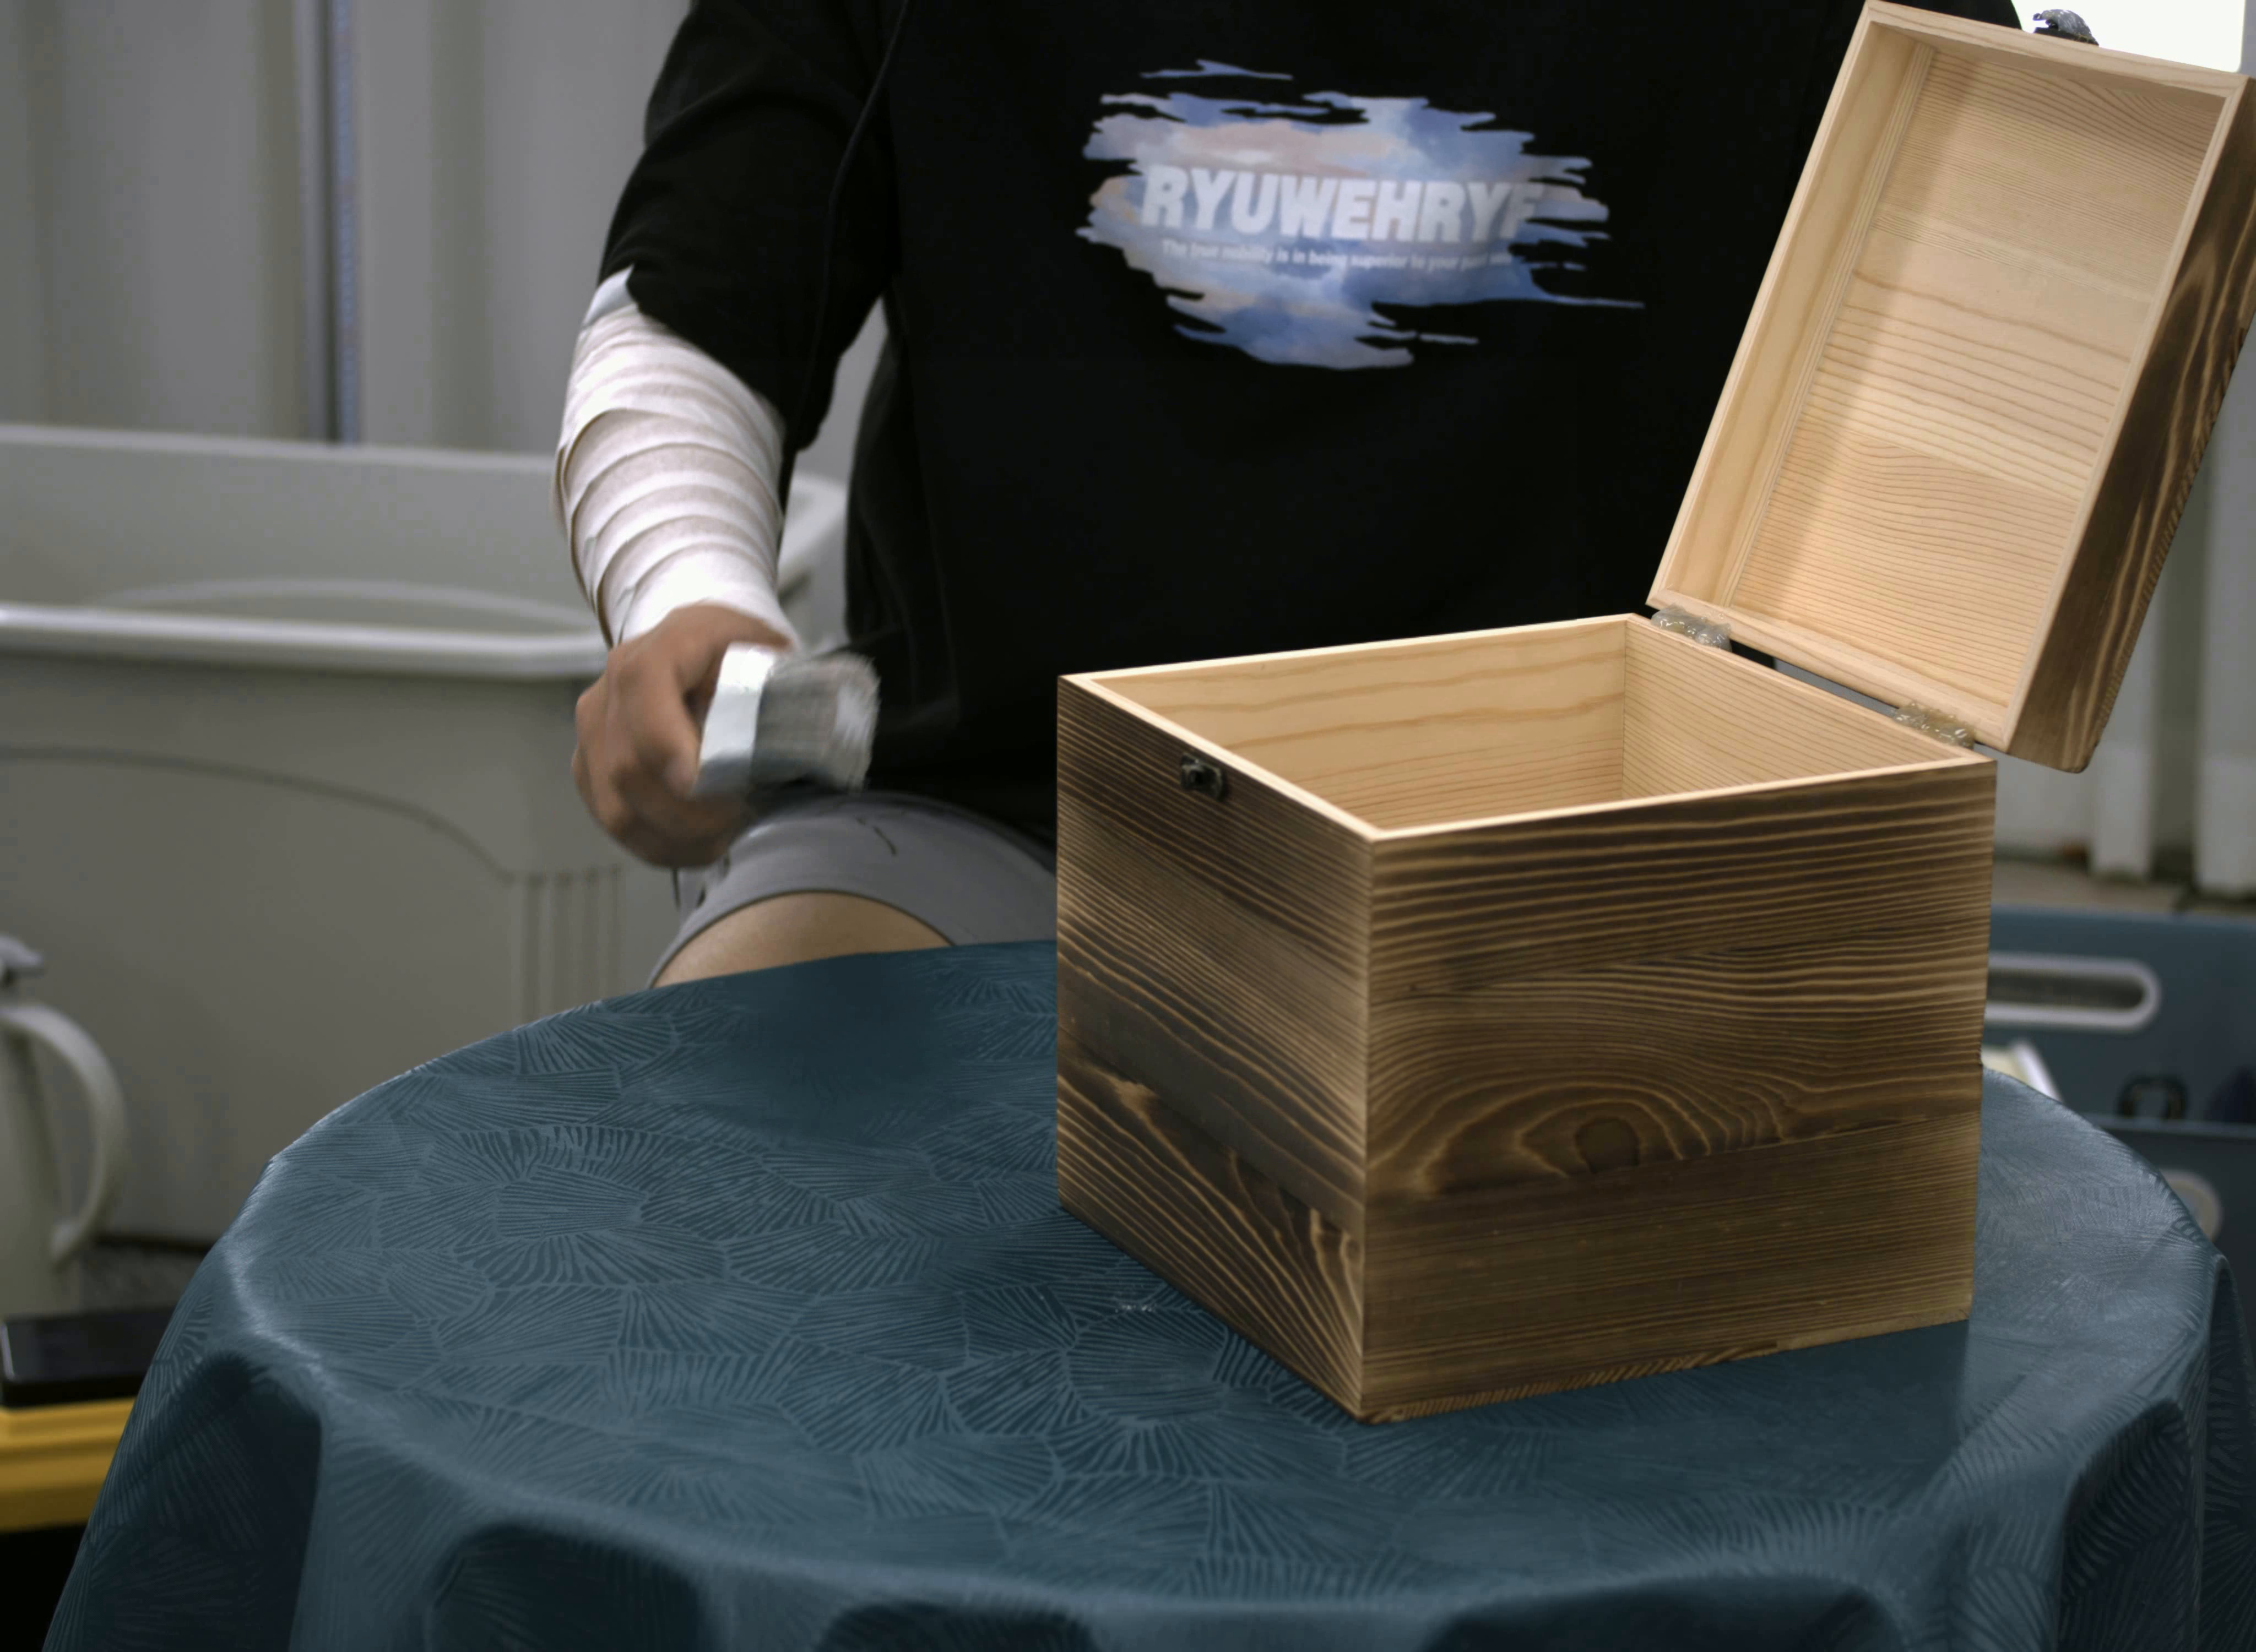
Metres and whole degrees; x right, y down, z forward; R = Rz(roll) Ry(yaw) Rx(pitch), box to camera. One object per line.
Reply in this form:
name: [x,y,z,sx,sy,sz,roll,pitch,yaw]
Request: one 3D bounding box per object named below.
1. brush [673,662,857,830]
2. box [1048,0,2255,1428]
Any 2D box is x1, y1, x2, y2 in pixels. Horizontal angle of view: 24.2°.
brush: [-0.114,-0.018,1.636,0.050,0.034,0.243,9,-7,-6]
box: [0.156,-0.052,1.539,0.323,0.378,0.206,-8,17,-25]
